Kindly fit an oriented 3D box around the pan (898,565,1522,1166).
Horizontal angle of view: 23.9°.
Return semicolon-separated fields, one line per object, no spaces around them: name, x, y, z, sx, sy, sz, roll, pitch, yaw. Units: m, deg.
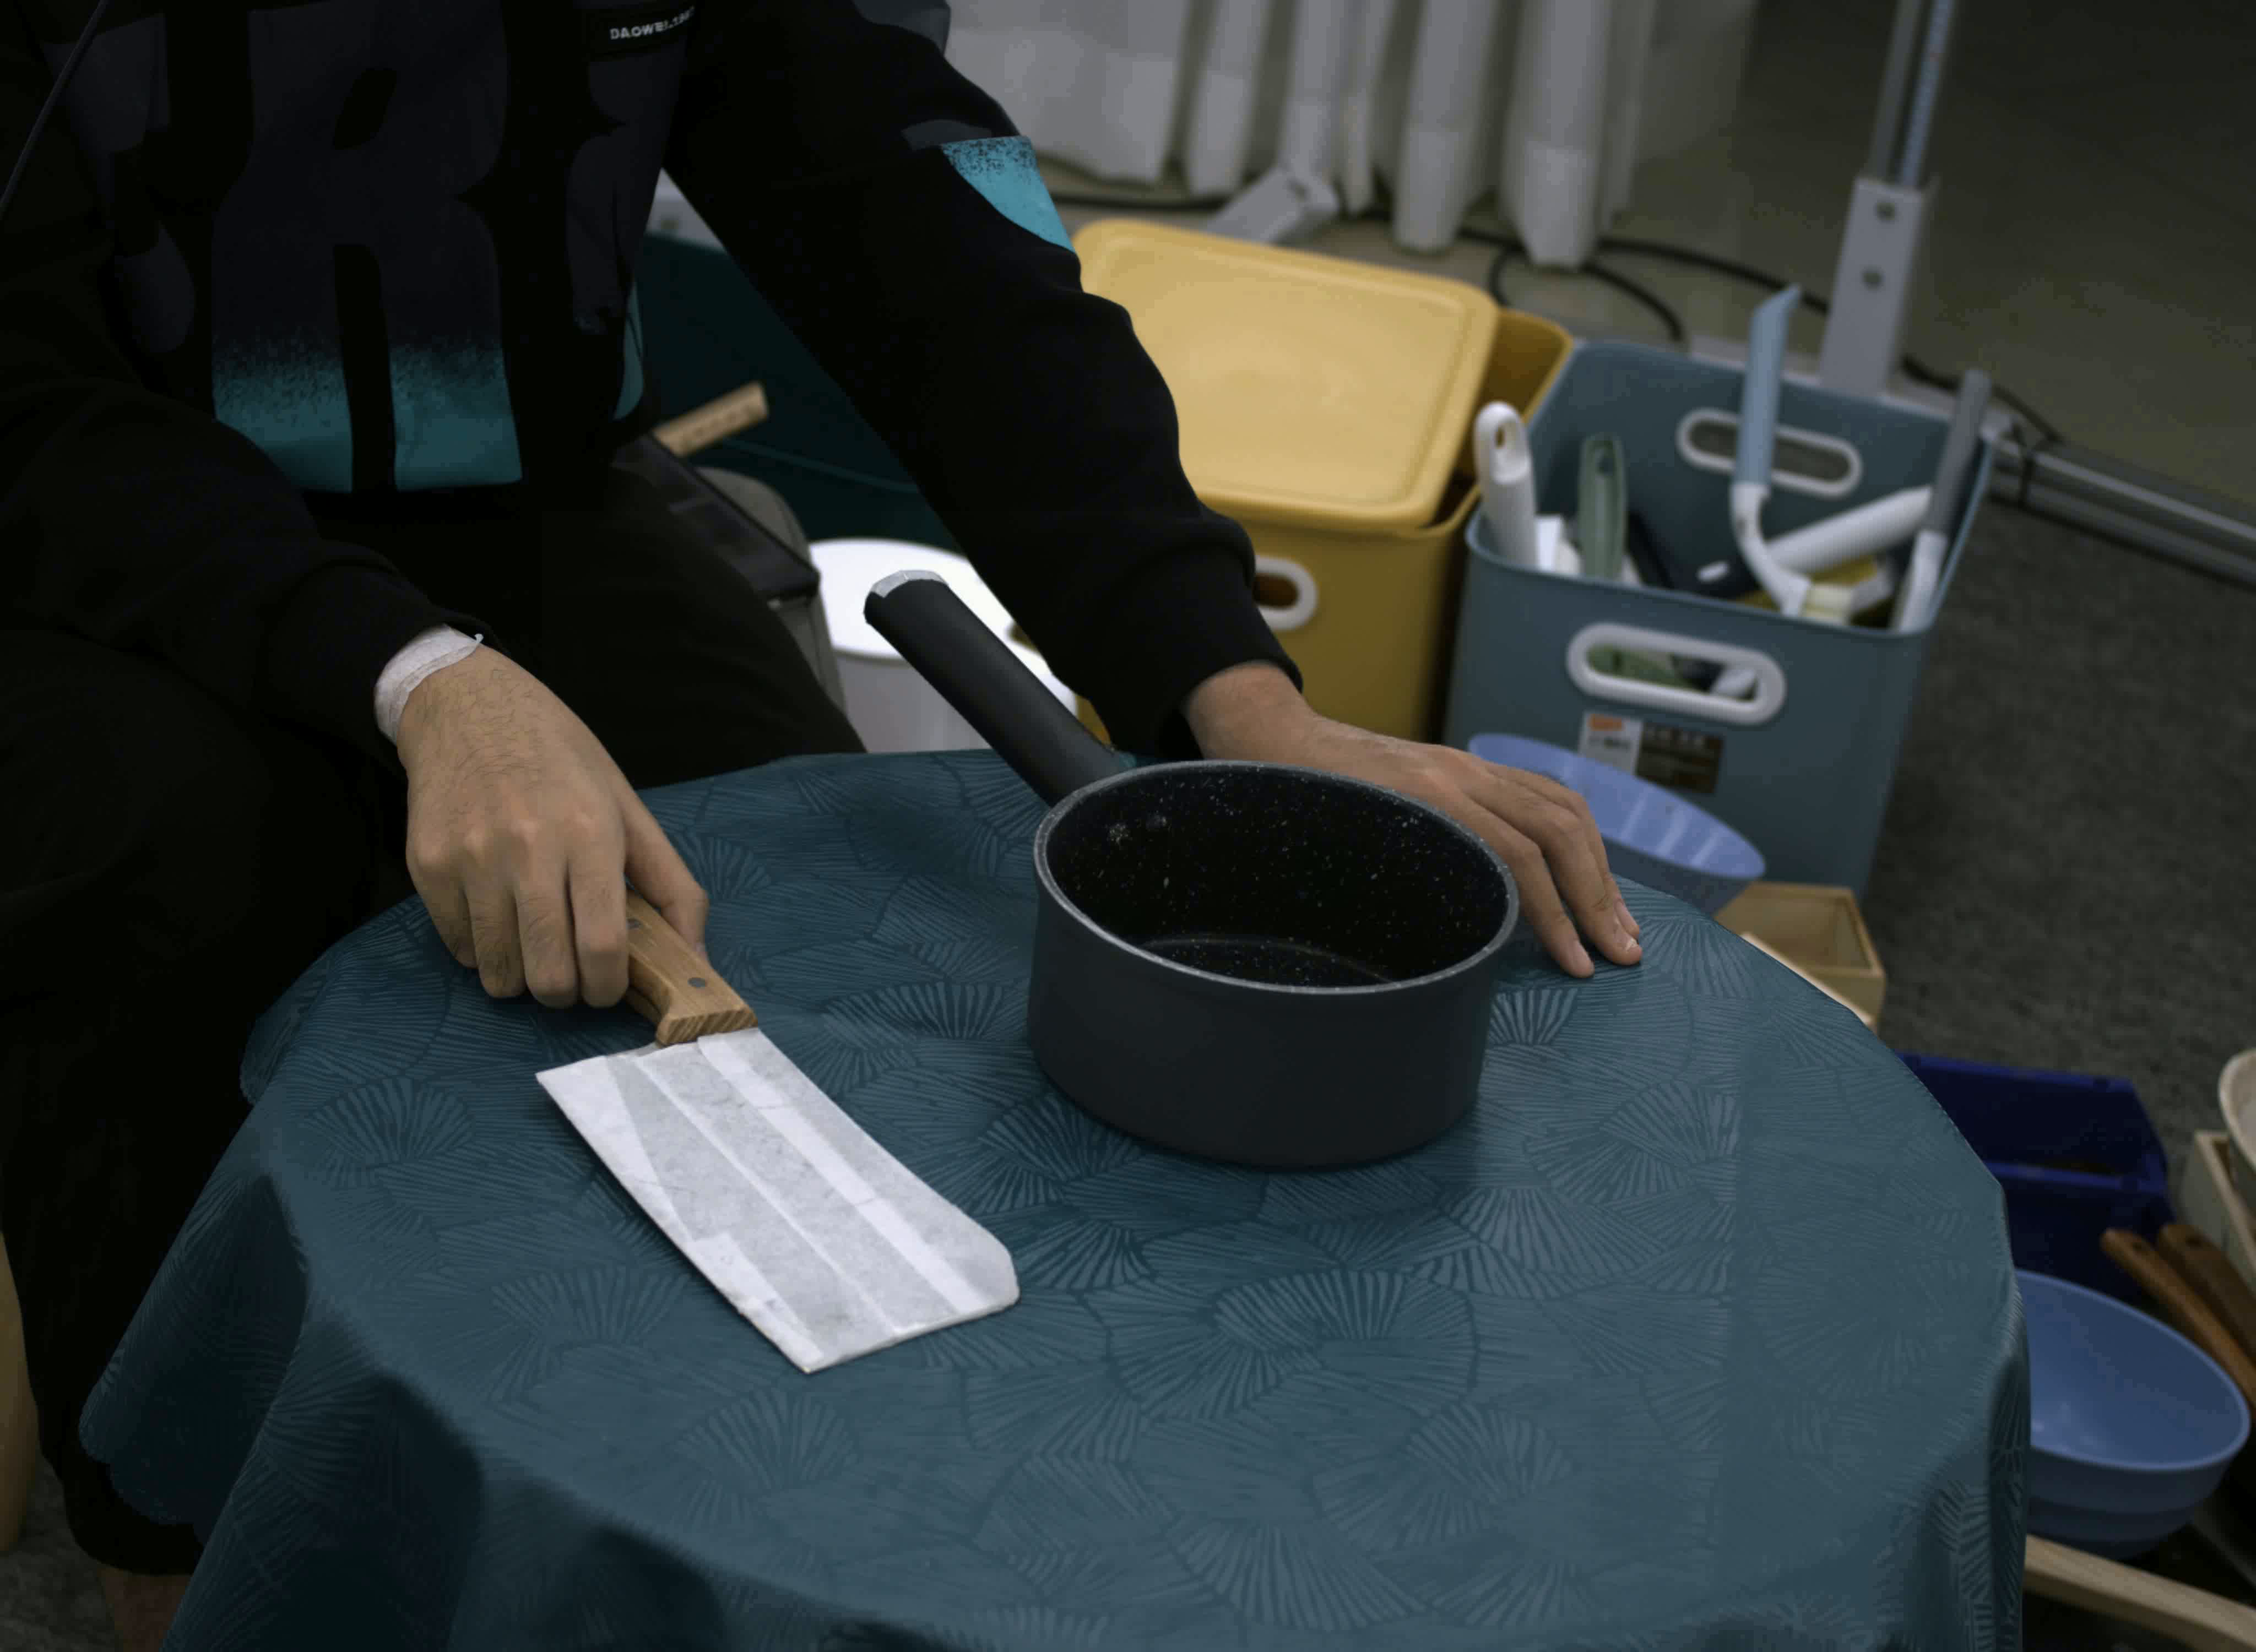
pan;0.006;0.011;1.931;0.171;0.086;0.332;-9;32;-32

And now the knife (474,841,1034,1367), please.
knife;-0.142;0.090;1.817;0.113;0.021;0.318;-10;34;-29
